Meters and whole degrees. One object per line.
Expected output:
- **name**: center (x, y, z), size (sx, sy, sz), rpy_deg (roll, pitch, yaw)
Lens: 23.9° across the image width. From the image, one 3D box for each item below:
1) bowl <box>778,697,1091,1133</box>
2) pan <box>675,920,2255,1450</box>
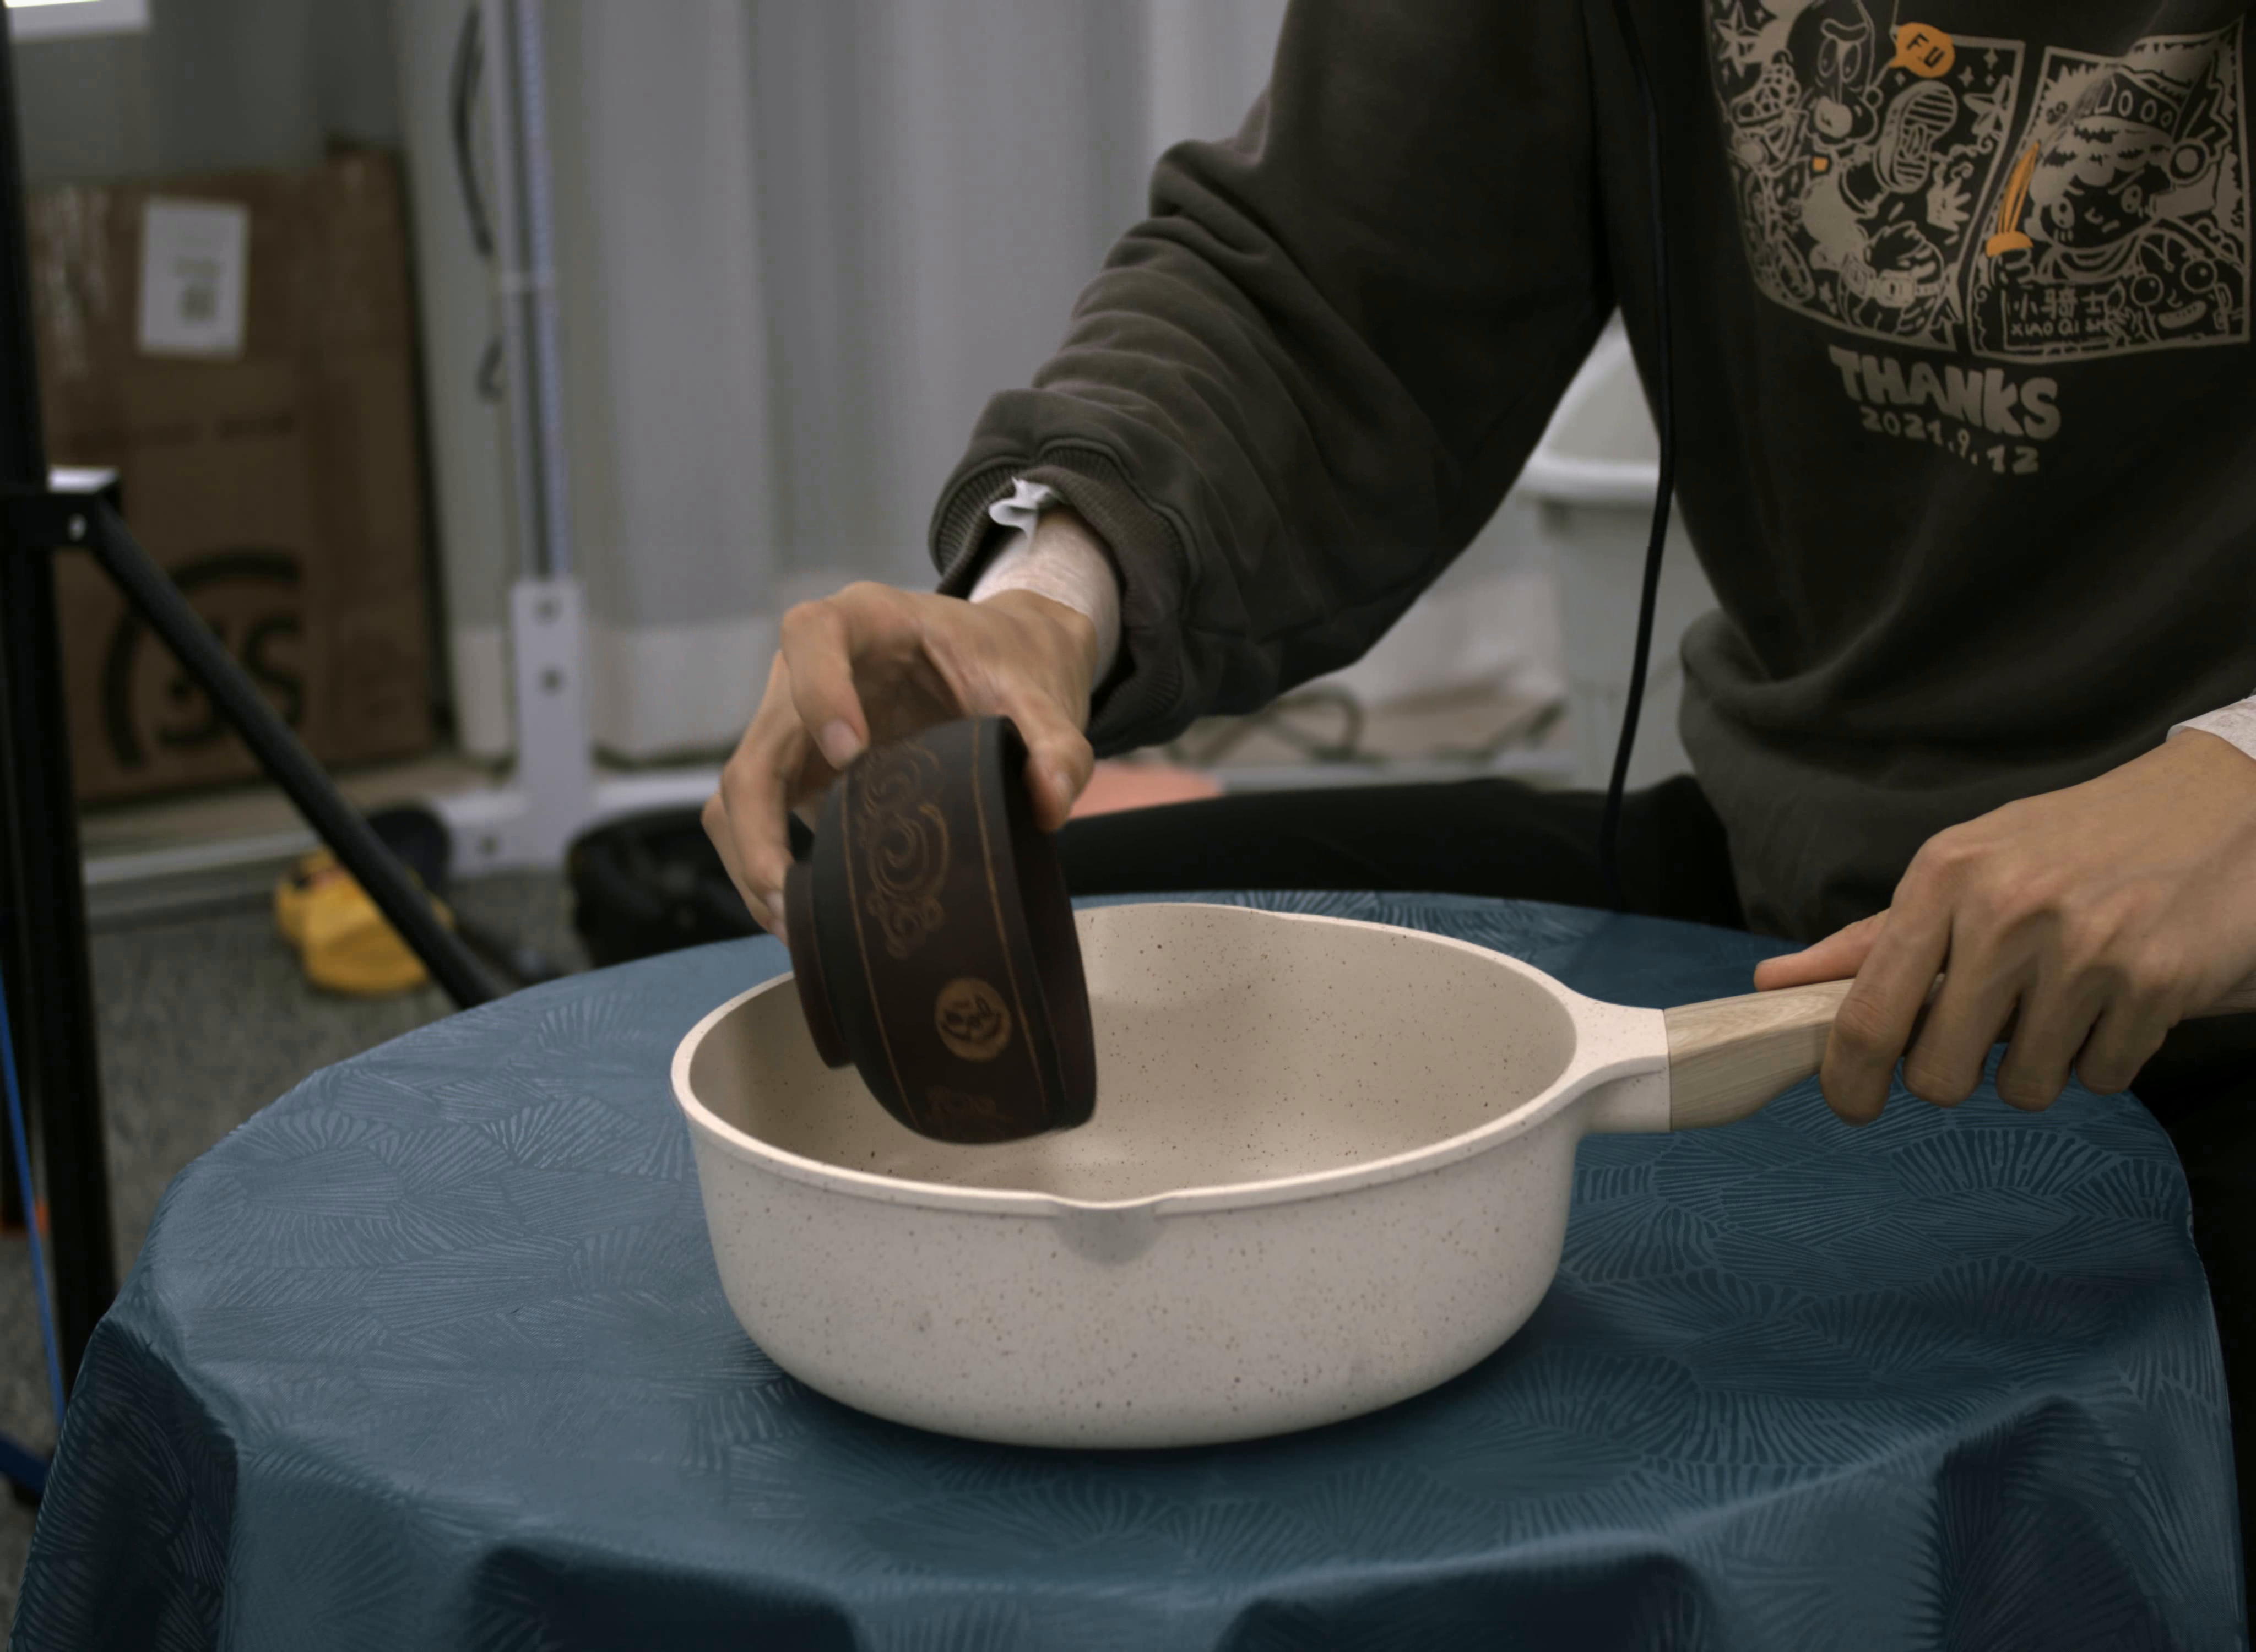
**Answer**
- **bowl**: center (-0.056, 0.028, 1.461), size (0.070, 0.118, 0.118), rpy_deg (-13, 15, 5)
- **pan**: center (0.095, 0.089, 1.433), size (0.434, 0.102, 0.263), rpy_deg (-1, 14, 5)
